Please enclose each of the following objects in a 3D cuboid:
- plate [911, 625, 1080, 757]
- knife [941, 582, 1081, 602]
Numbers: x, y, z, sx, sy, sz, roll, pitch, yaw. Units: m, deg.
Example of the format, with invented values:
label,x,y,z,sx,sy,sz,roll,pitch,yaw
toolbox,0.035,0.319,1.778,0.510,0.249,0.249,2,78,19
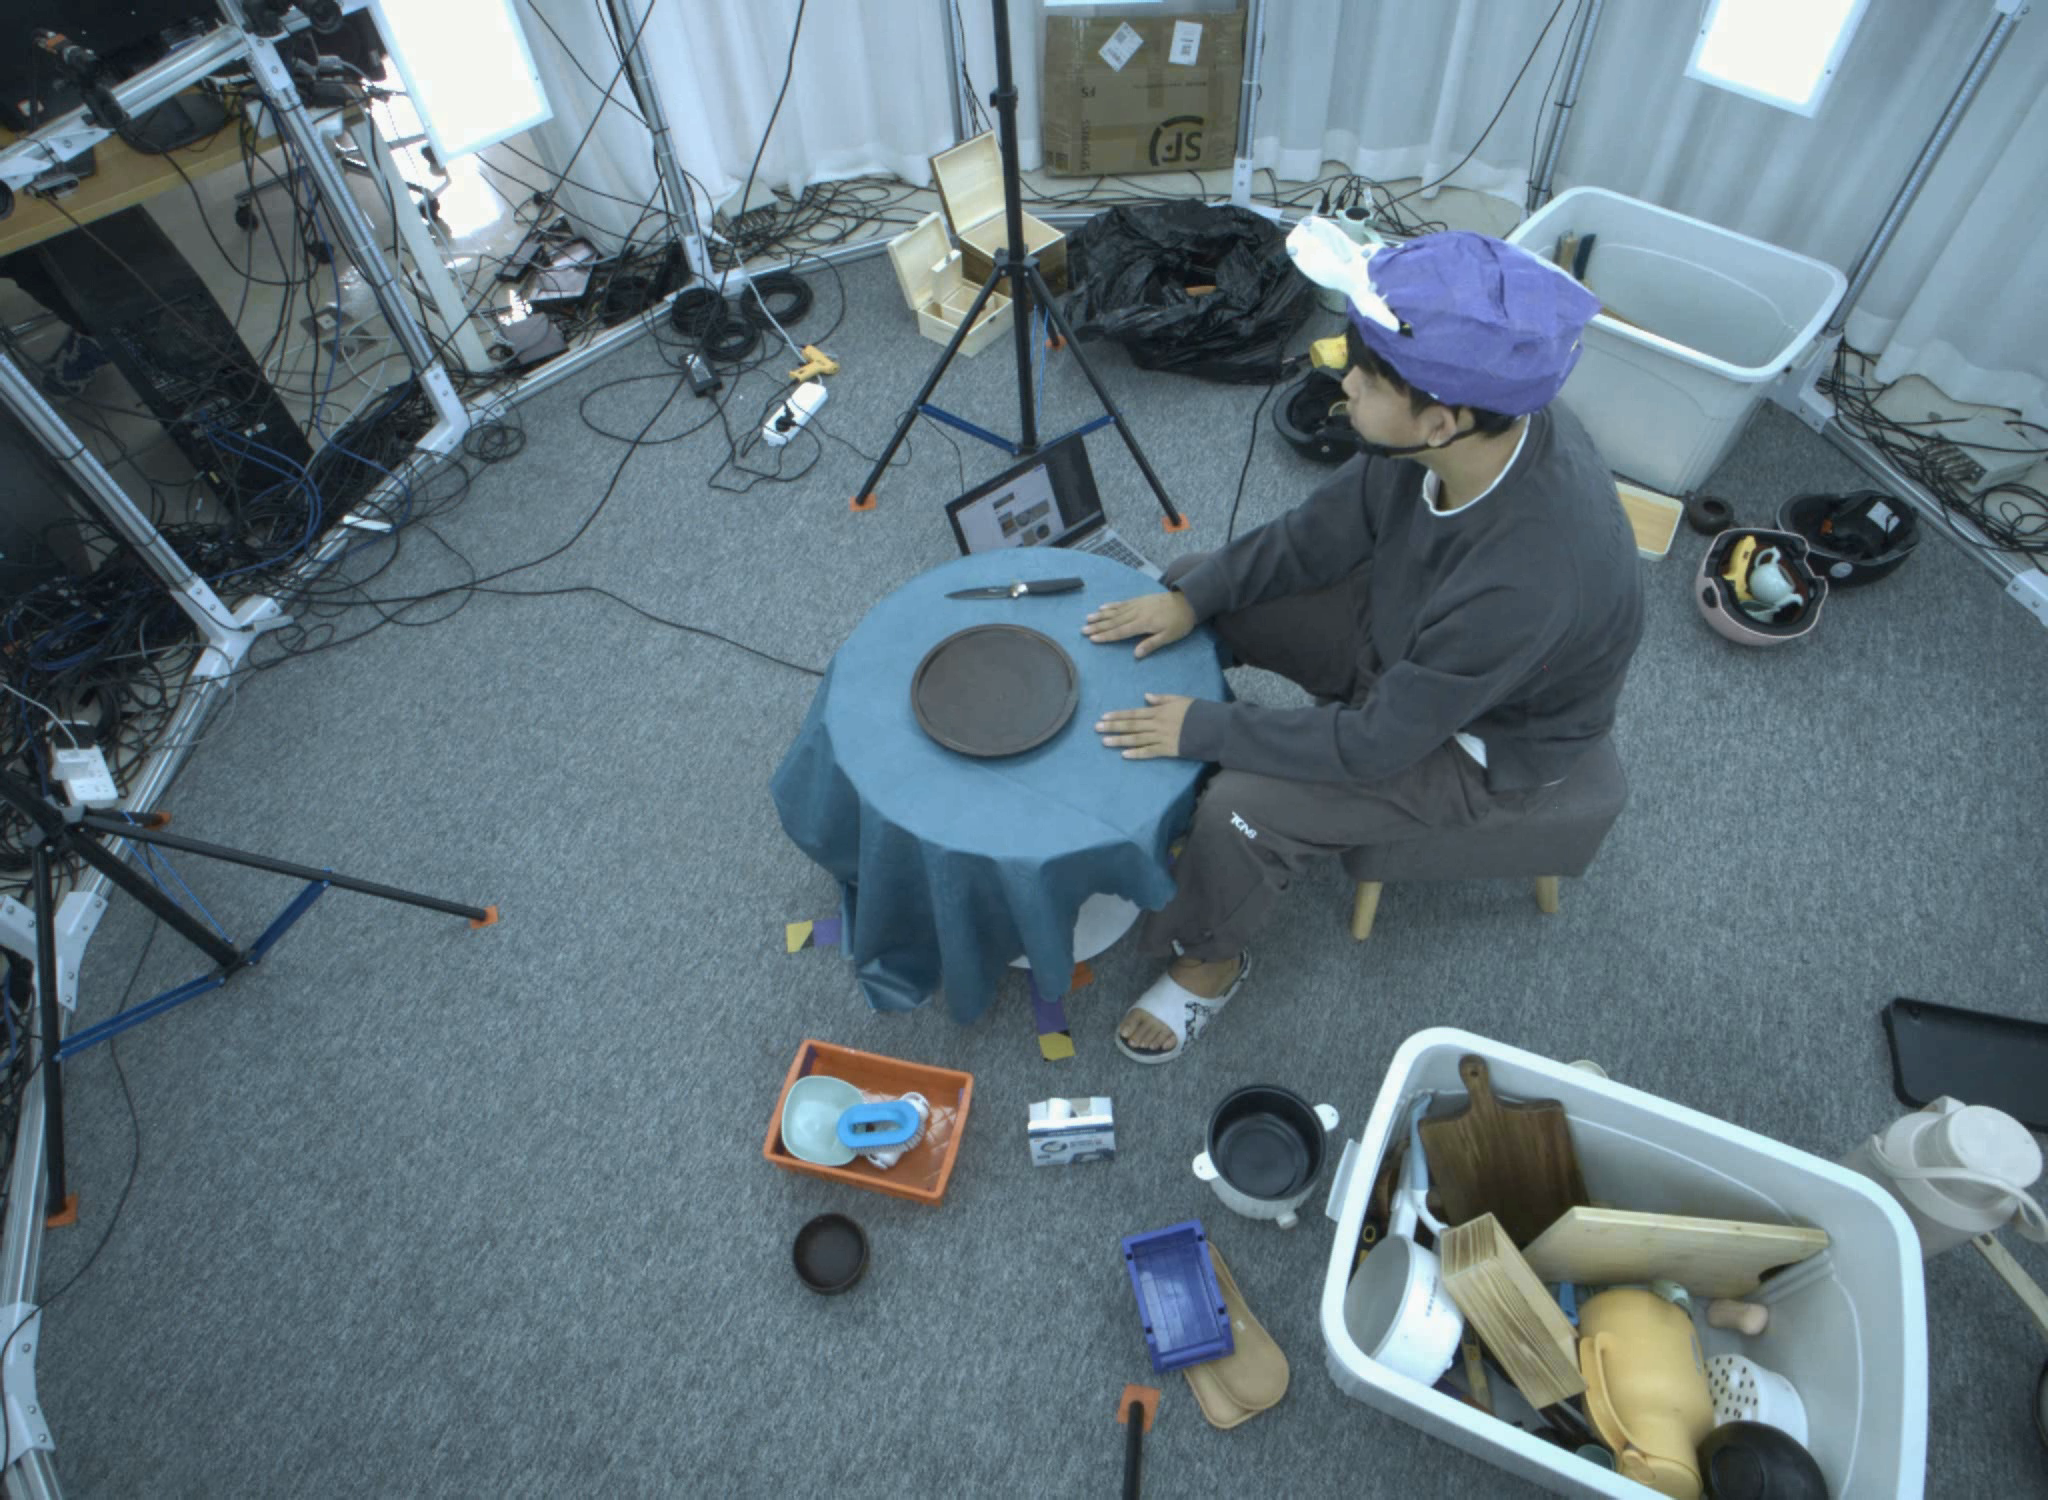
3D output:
label,x,y,z,sx,sy,sz,roll,pitch,yaw
plate,-0.043,-0.090,1.838,0.255,0.029,0.252,1,53,1
knife,-0.022,-0.252,1.960,0.225,0.017,0.026,-4,60,0
